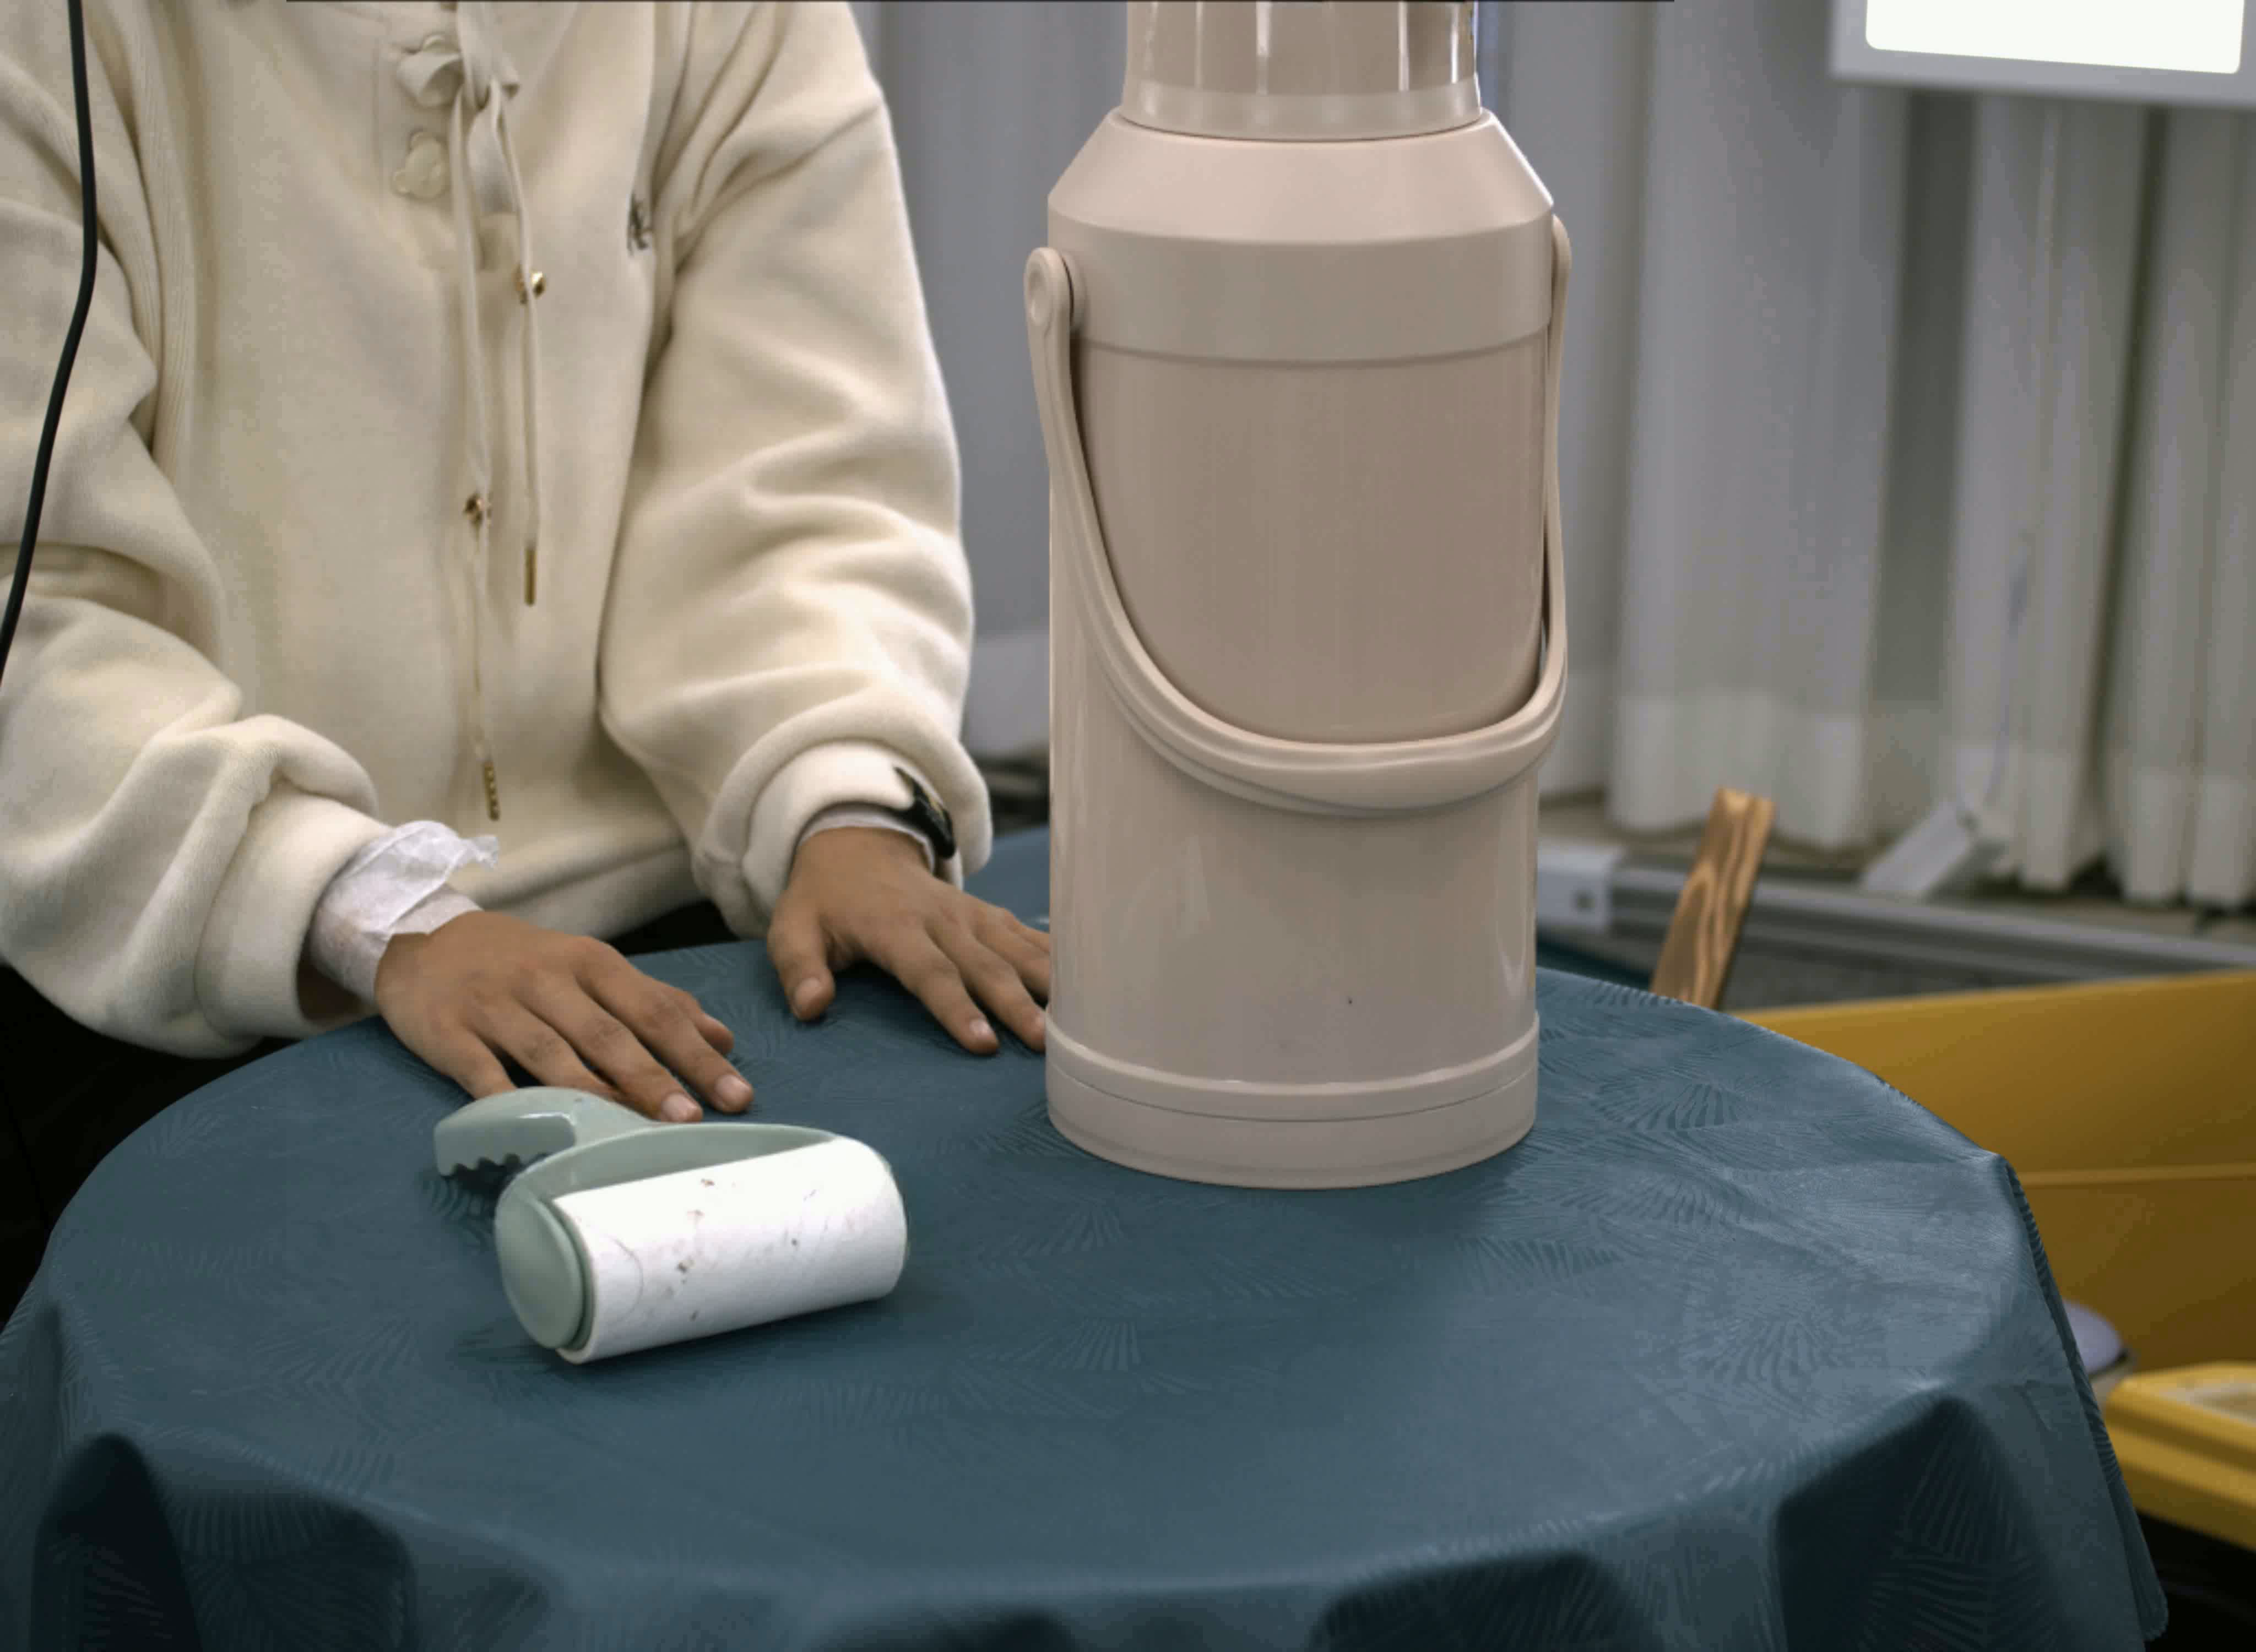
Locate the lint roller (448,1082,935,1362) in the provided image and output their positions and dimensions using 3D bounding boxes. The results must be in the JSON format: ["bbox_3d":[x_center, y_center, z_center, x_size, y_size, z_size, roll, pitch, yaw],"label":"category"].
[{"bbox_3d":[-0.150,0.102,1.563,0.117,0.049,0.195,-12,21,-31],"label":"lint roller"}]

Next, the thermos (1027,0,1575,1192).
[{"bbox_3d":[0.049,-0.103,1.654,0.176,0.410,0.204,-7,17,-22],"label":"thermos"}]
